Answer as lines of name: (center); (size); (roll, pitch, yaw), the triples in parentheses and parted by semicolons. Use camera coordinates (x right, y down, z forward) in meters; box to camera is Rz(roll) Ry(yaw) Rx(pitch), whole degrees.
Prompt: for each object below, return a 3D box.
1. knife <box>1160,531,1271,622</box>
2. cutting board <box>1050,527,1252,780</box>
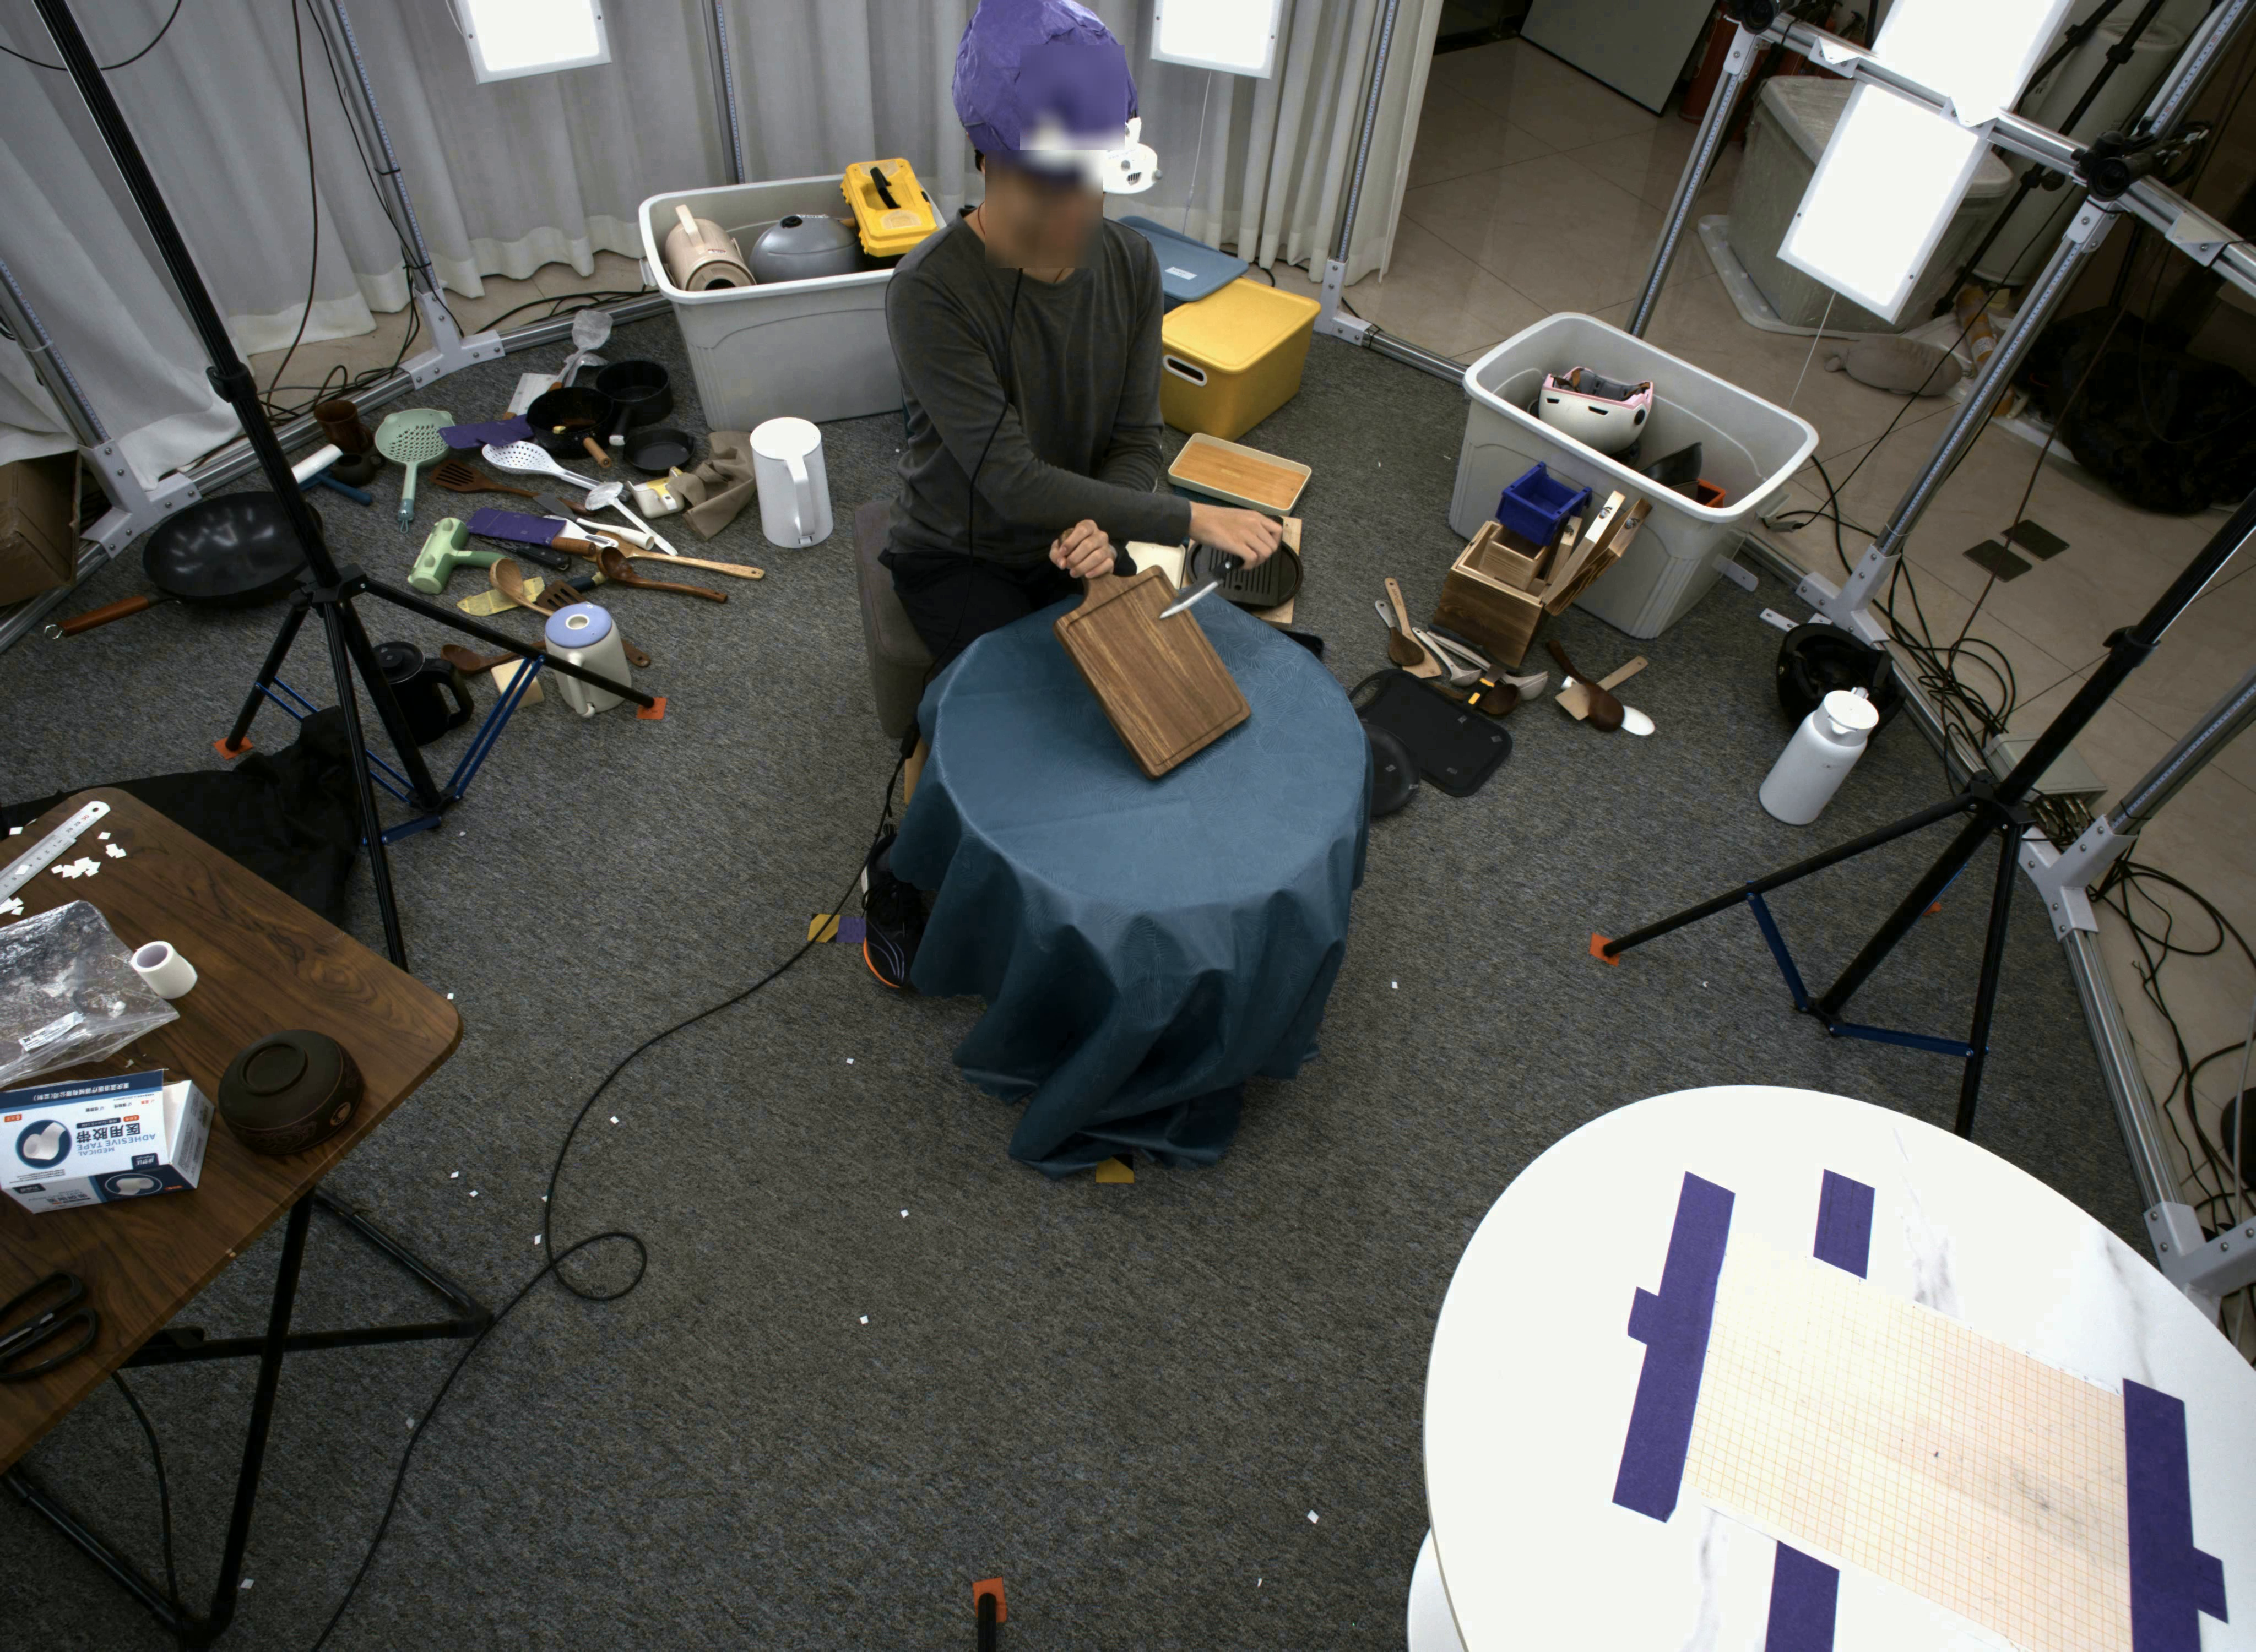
knife: (0.123, -0.356, 1.825); (0.240, 0.016, 0.024); (-42, 98, -27)
cutting board: (0.009, -0.256, 1.757); (0.203, 0.023, 0.352); (-34, 91, -29)
